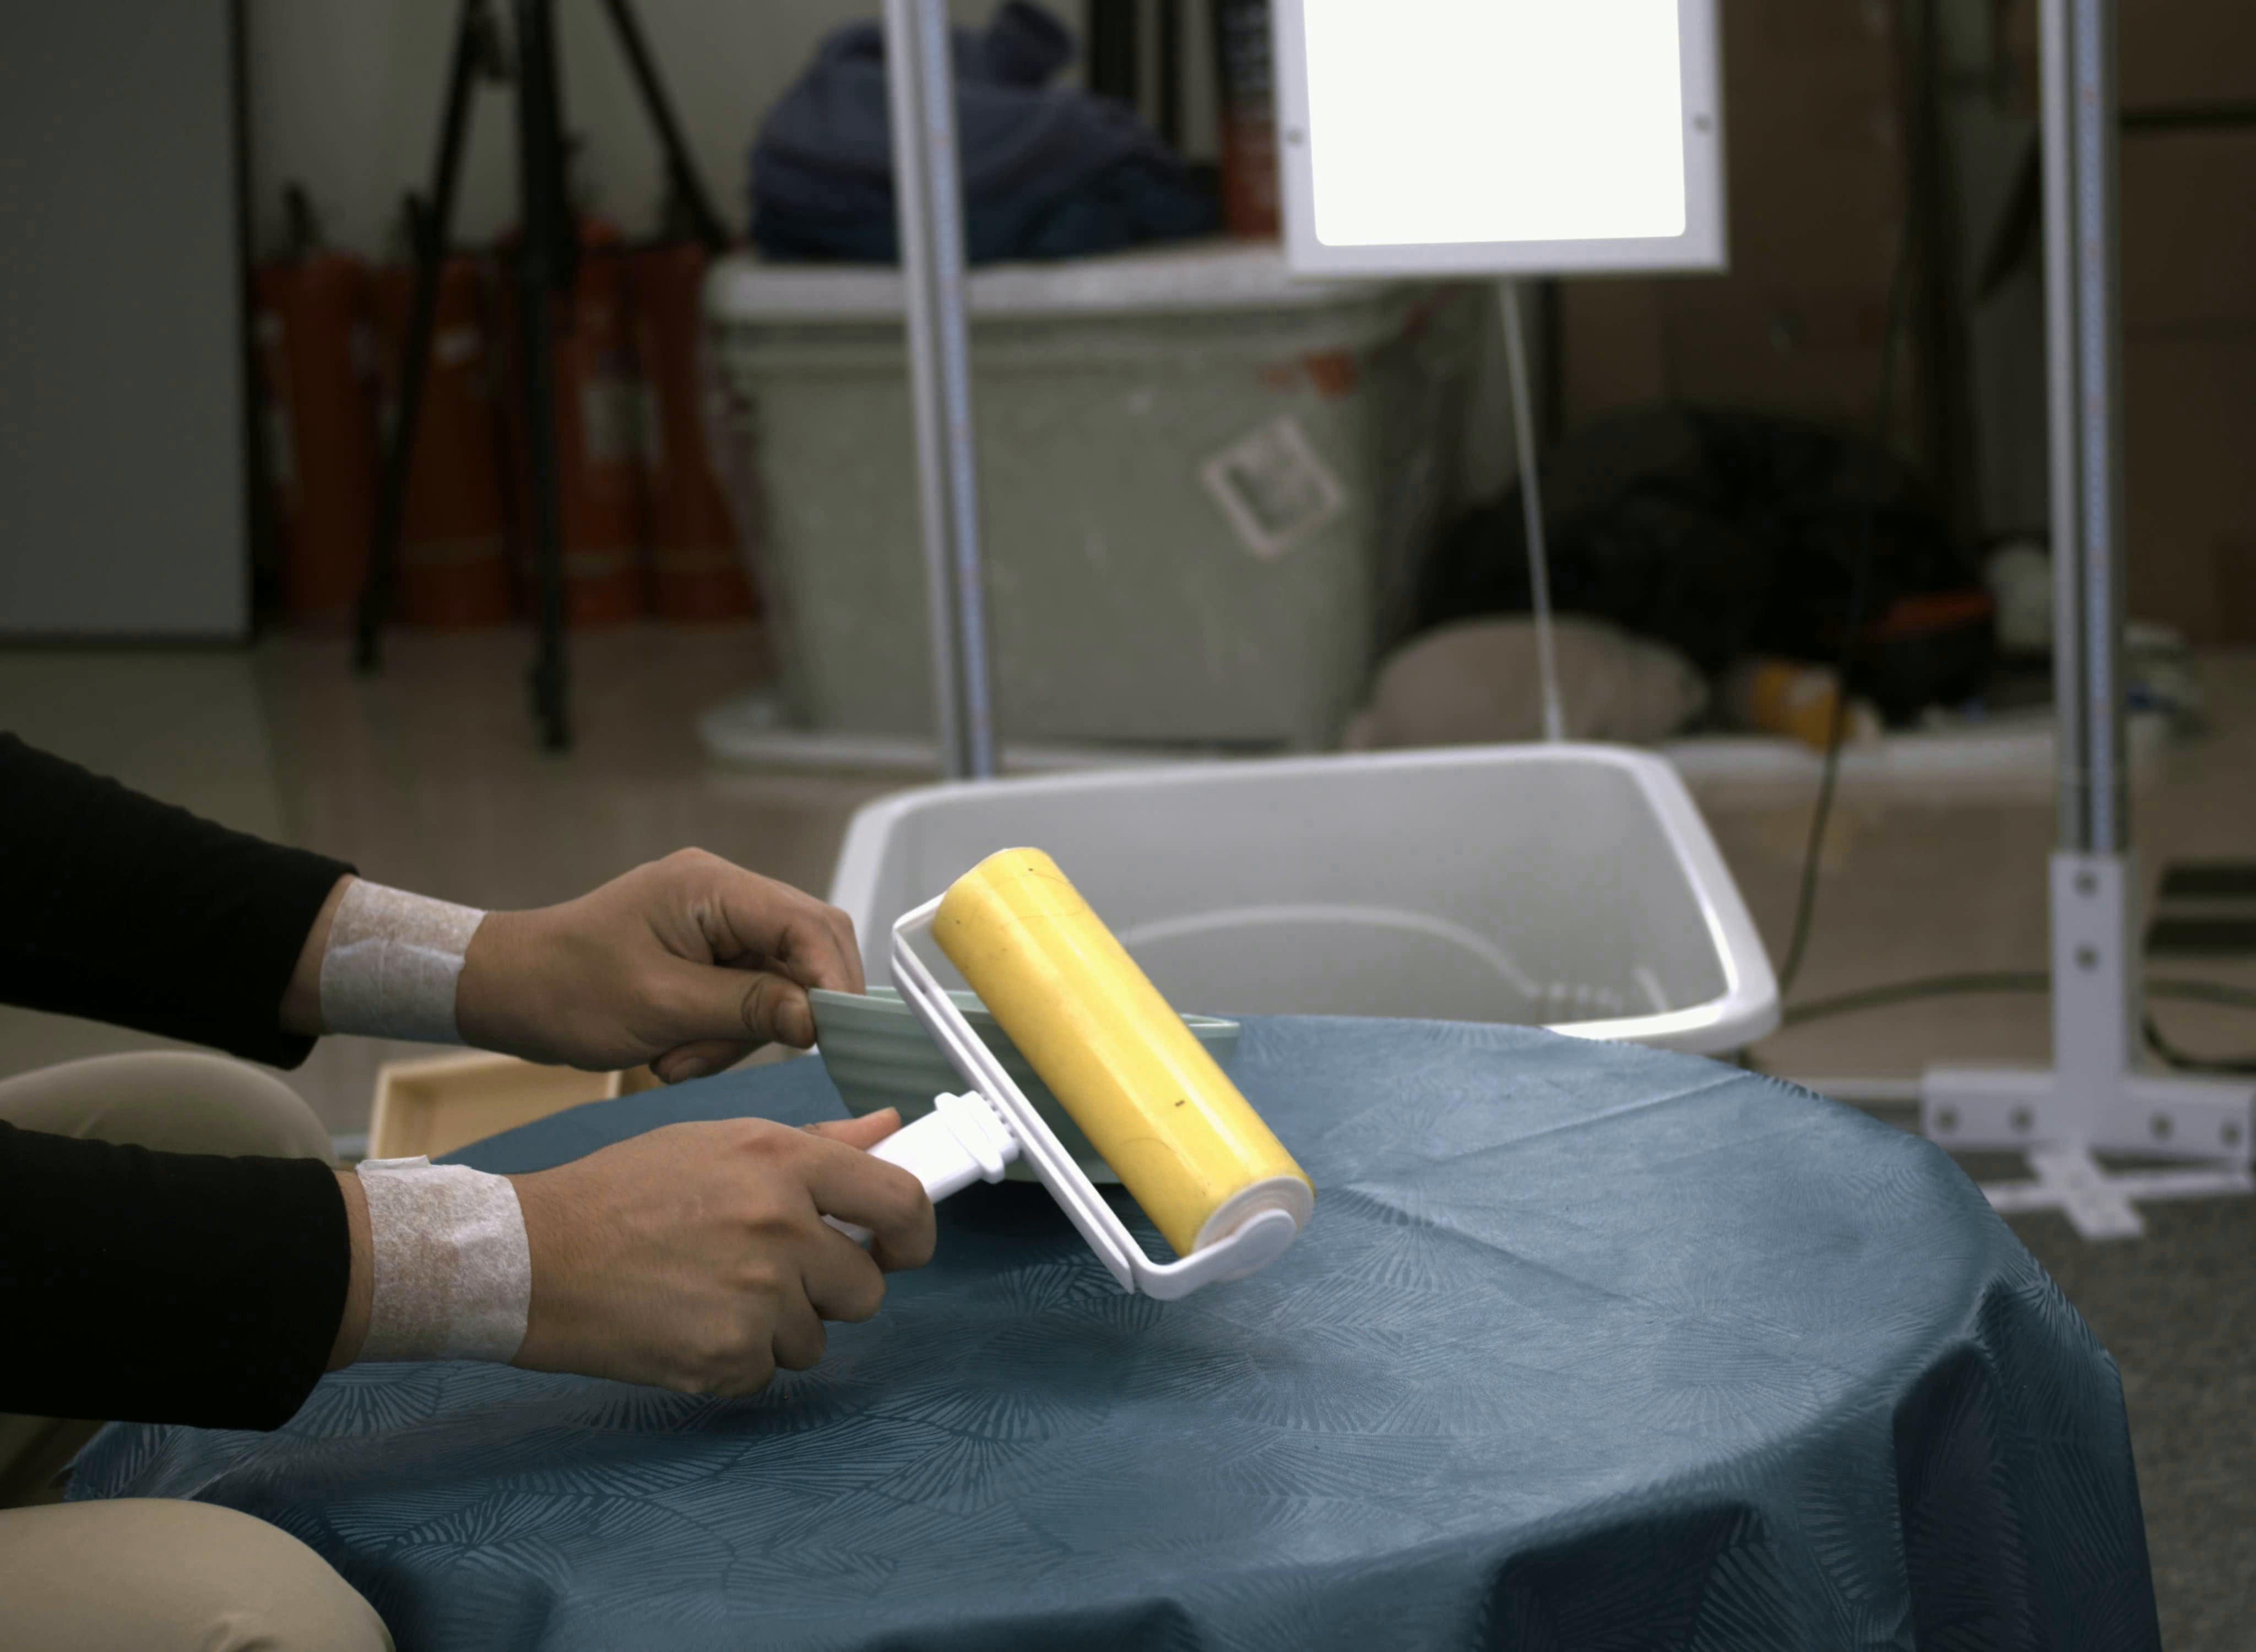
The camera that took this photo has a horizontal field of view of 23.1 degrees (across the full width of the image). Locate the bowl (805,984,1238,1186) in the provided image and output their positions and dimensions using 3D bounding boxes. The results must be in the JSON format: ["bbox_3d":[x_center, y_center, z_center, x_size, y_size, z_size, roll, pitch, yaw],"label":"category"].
[{"bbox_3d":[-0.039,0.091,1.894,0.151,0.059,0.151,6,-1,-1],"label":"bowl"}]

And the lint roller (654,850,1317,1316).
[{"bbox_3d":[-0.063,0.099,1.732,0.188,0.052,0.176,-21,49,-26],"label":"lint roller"}]
